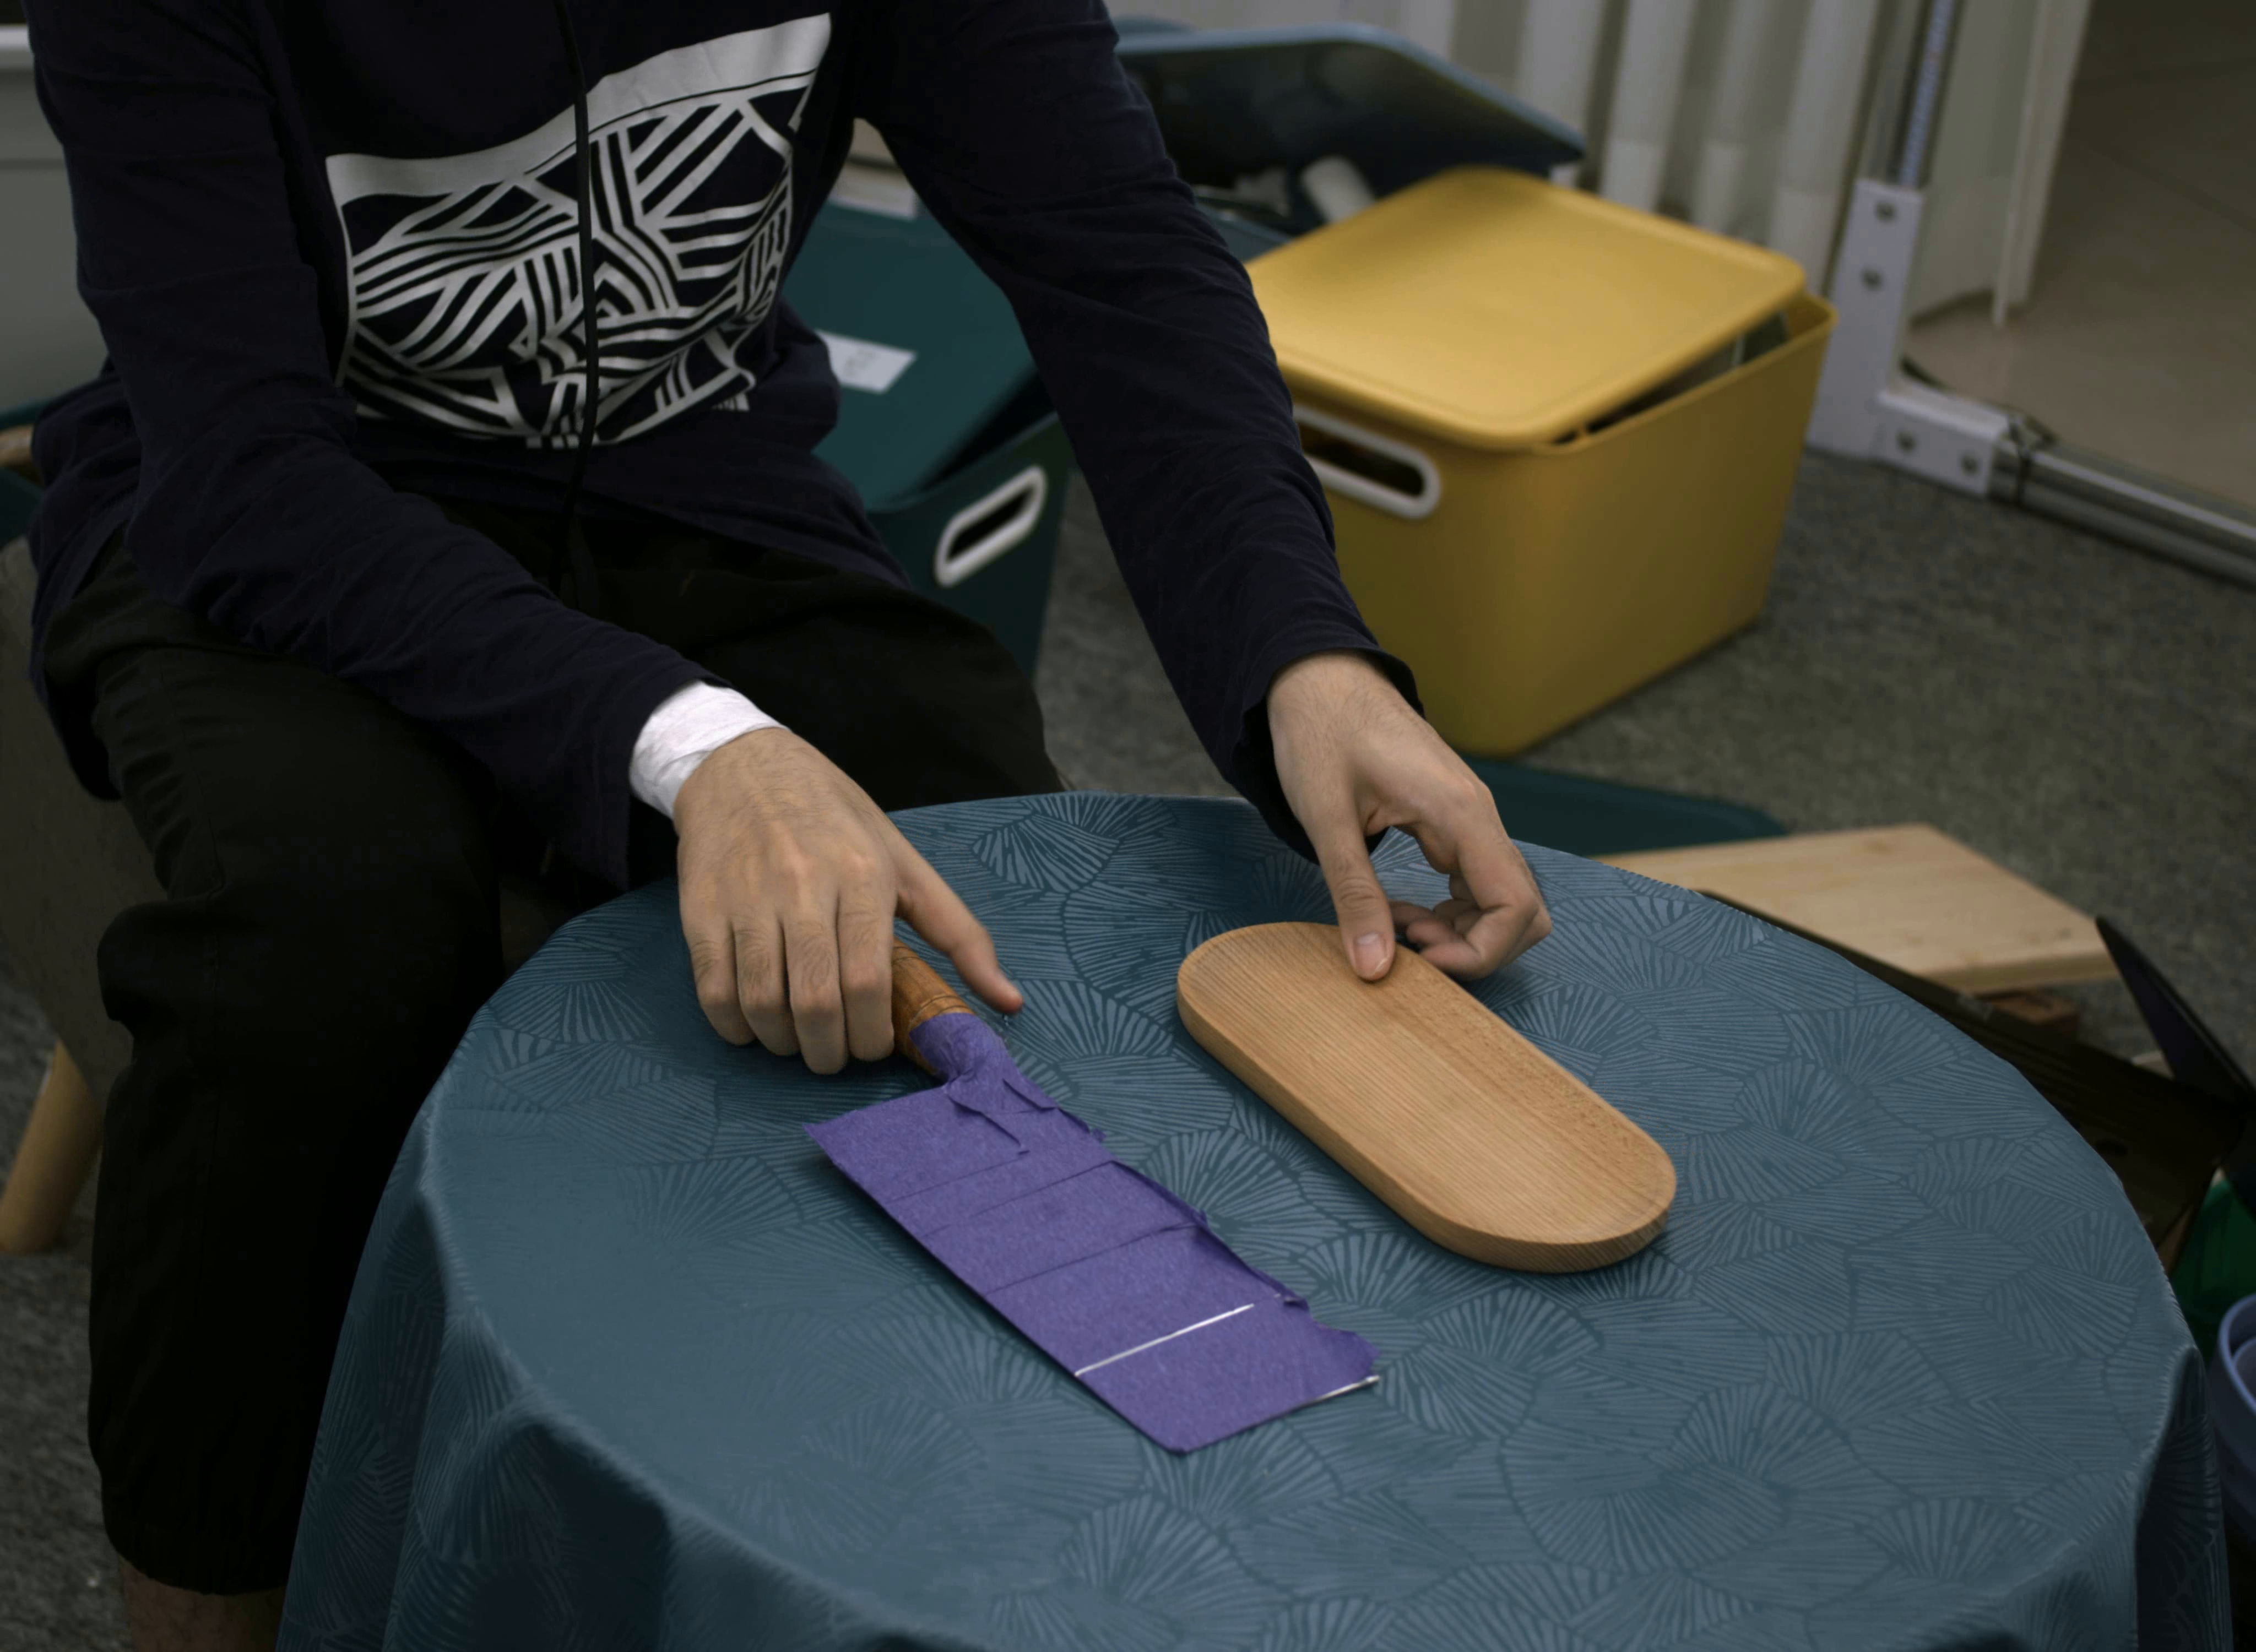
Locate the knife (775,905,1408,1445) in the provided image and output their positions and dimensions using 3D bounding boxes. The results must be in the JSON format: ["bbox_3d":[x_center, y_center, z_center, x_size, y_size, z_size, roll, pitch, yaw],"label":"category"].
[{"bbox_3d":[-0.043,0.113,1.788,0.103,0.032,0.318,-14,34,-36],"label":"knife"}]

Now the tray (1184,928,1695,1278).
[{"bbox_3d":[0.106,0.095,1.867,0.101,0.020,0.233,-15,35,-31],"label":"tray"}]
